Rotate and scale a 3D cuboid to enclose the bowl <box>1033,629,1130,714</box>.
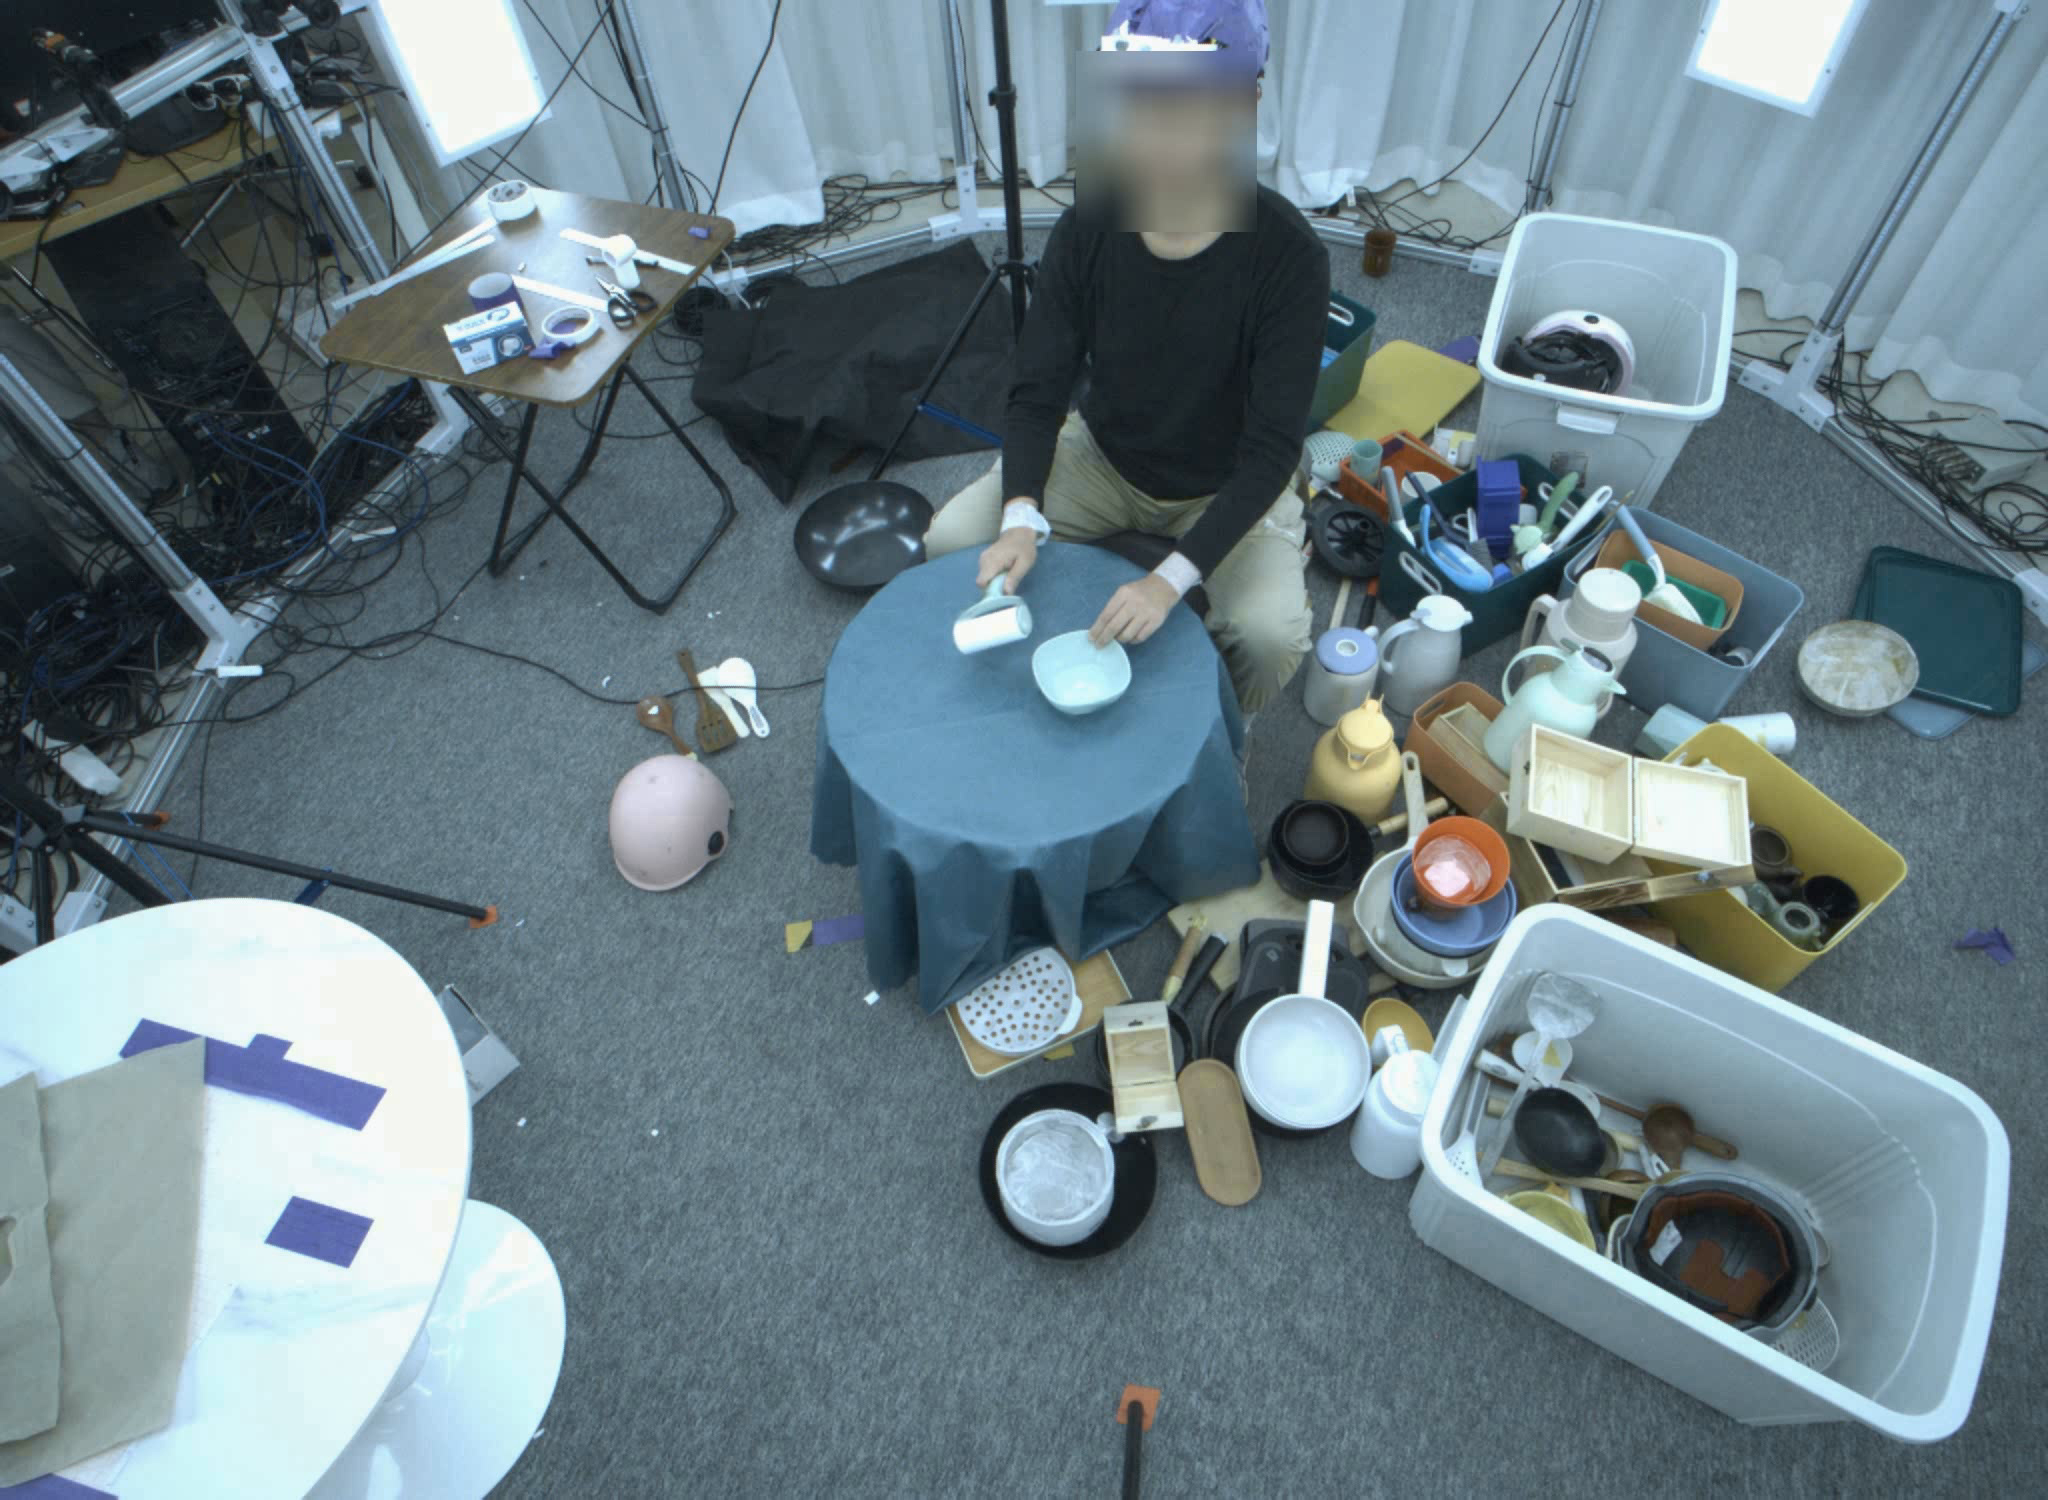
[{"bbox_3d":[0.086,-0.107,1.826,0.151,0.059,0.150,-1,56,2],"label":"bowl"}]

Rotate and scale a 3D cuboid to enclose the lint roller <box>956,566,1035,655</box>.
[{"bbox_3d":[-0.034,-0.228,1.852,0.115,0.049,0.196,-14,42,23],"label":"lint roller"}]
